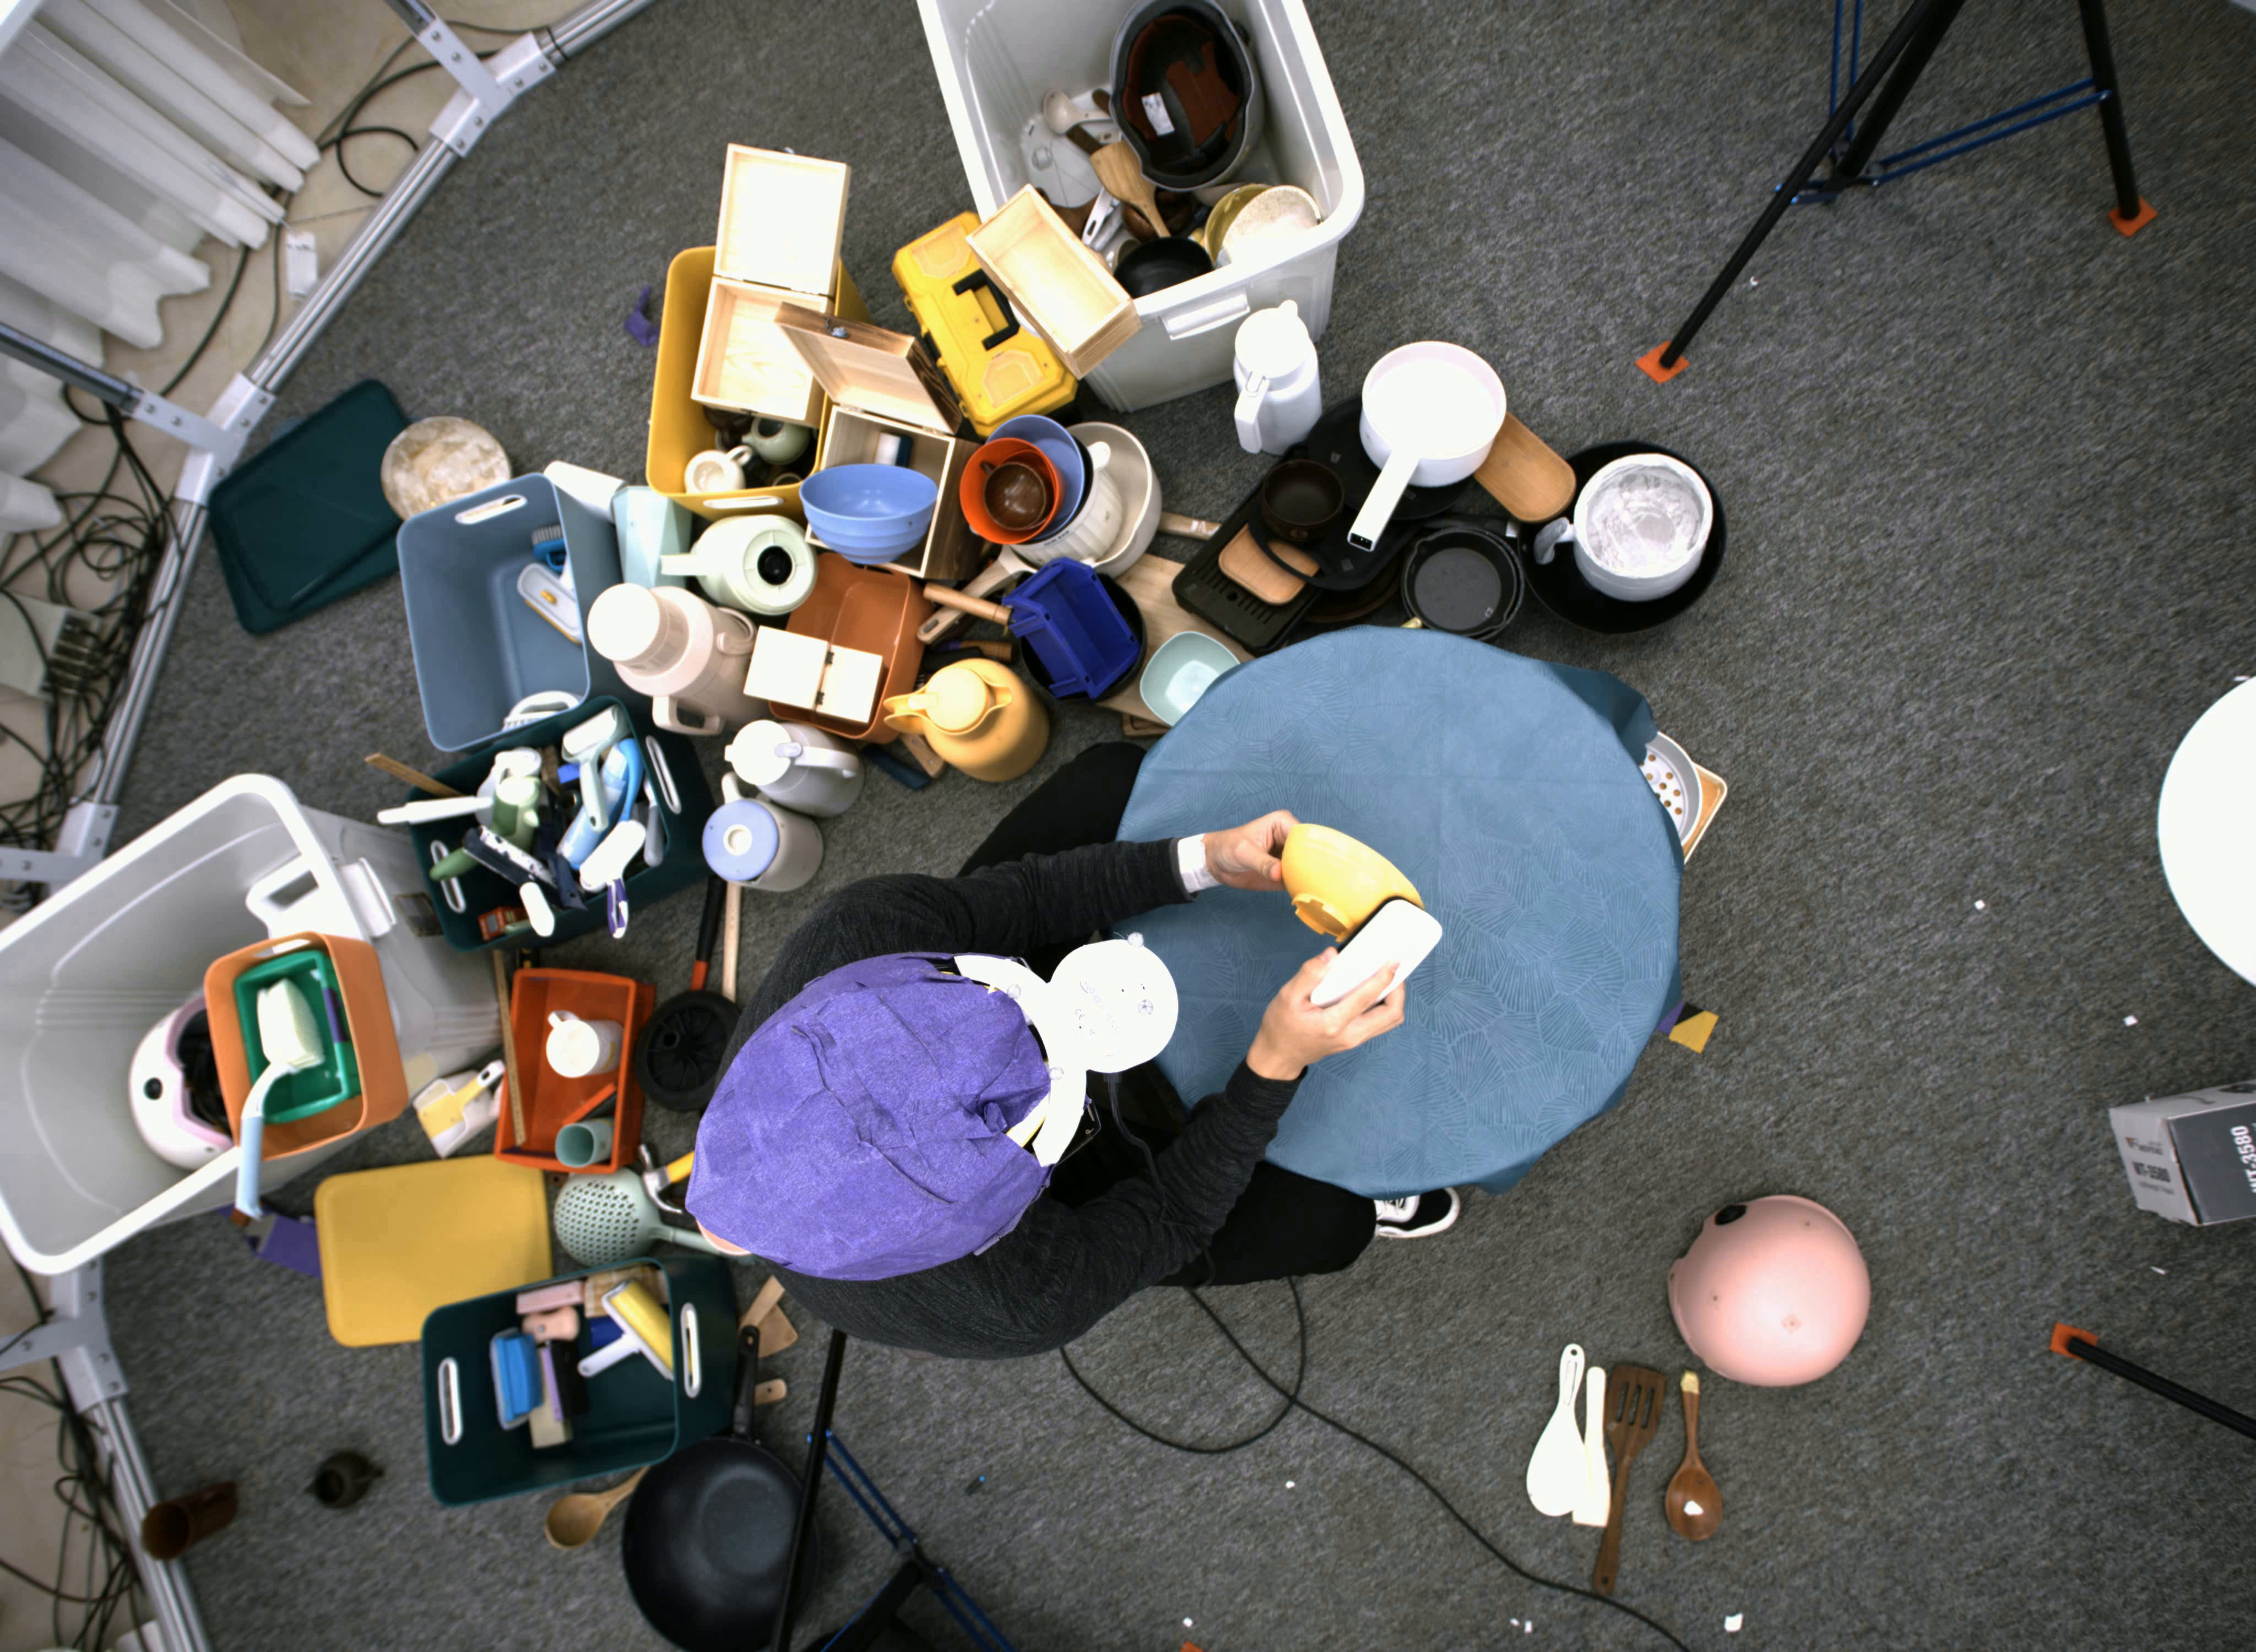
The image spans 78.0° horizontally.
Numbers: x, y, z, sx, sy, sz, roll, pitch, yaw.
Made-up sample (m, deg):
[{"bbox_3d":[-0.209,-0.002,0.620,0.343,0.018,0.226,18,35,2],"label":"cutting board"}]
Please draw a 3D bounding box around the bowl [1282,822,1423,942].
[{"bbox_3d":[0.195,0.063,1.275,0.145,0.147,0.059,32,73,11],"label":"bowl"}]

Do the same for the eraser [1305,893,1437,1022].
[{"bbox_3d":[0.215,0.119,1.241,0.063,0.034,0.134,27,117,-25],"label":"eraser"}]
